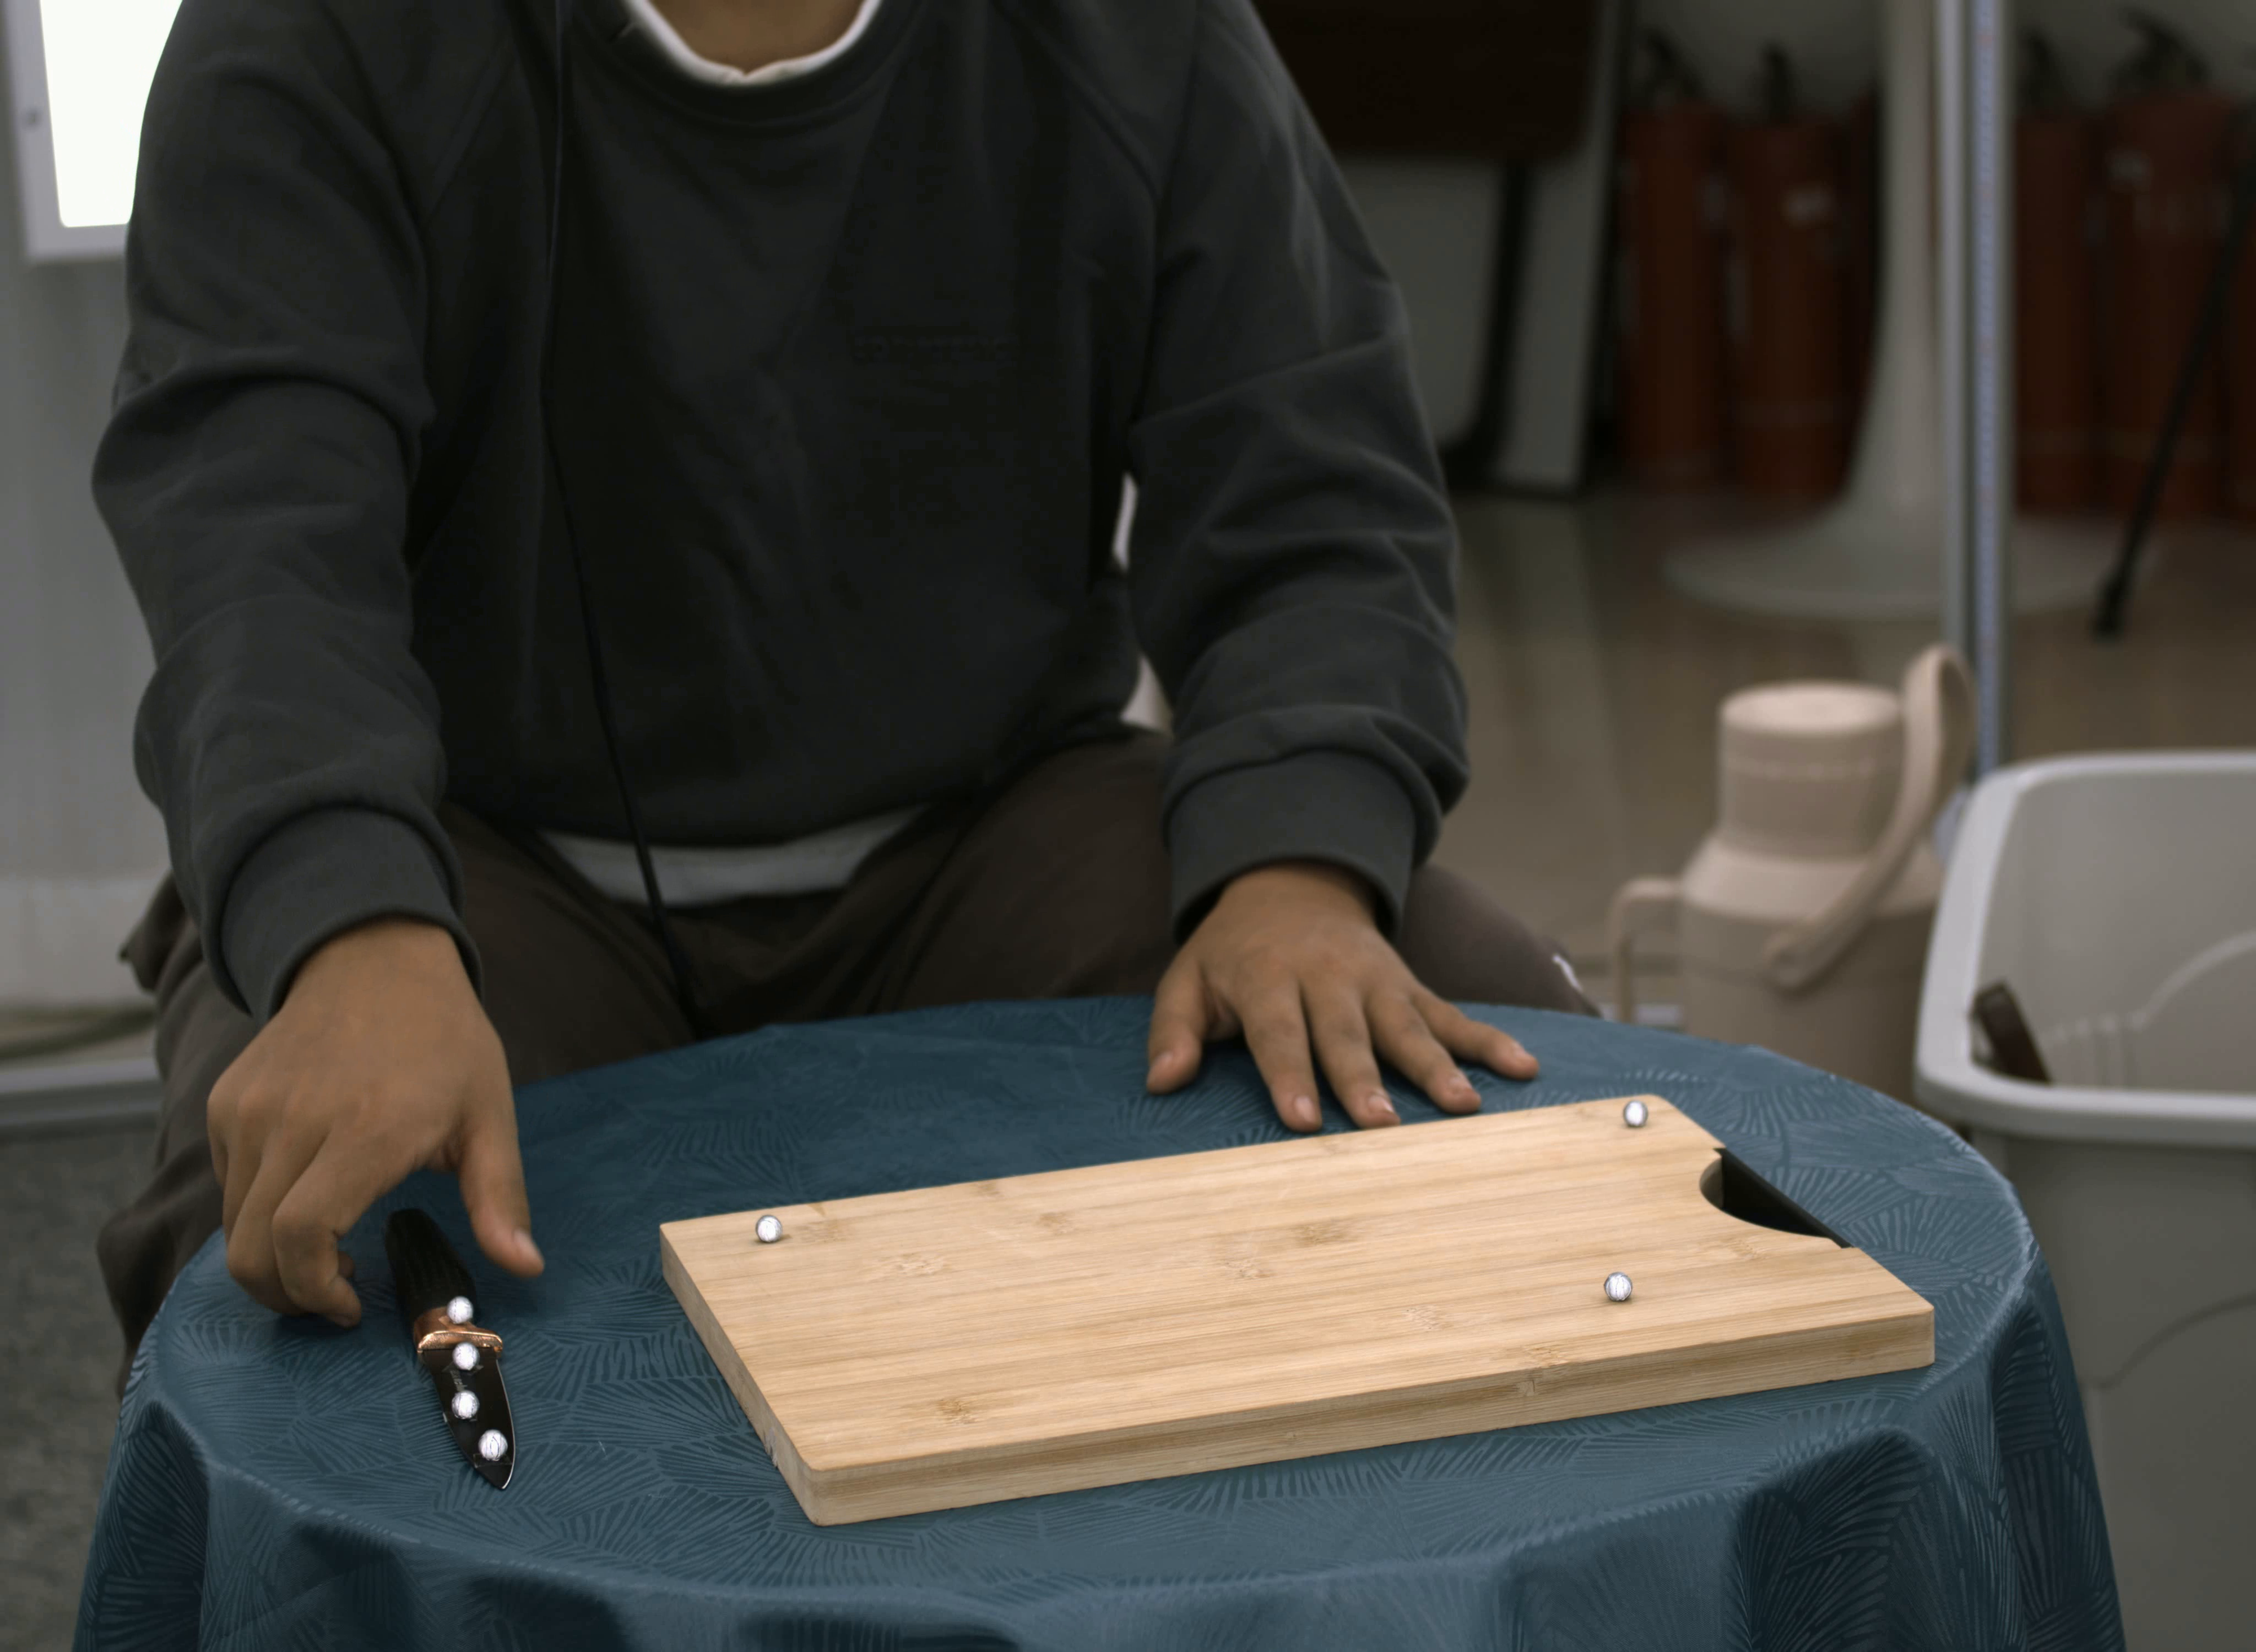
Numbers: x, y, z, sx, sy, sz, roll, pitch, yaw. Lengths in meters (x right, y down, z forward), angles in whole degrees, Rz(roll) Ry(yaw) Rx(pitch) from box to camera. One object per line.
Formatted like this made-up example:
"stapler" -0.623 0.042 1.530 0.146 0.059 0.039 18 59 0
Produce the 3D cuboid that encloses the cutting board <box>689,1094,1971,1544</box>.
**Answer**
"cutting board" 0.050 0.143 1.638 0.342 0.024 0.252 -7 14 -13

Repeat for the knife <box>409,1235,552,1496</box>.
"knife" -0.197 0.163 1.640 0.026 0.017 0.227 -1 13 -13
